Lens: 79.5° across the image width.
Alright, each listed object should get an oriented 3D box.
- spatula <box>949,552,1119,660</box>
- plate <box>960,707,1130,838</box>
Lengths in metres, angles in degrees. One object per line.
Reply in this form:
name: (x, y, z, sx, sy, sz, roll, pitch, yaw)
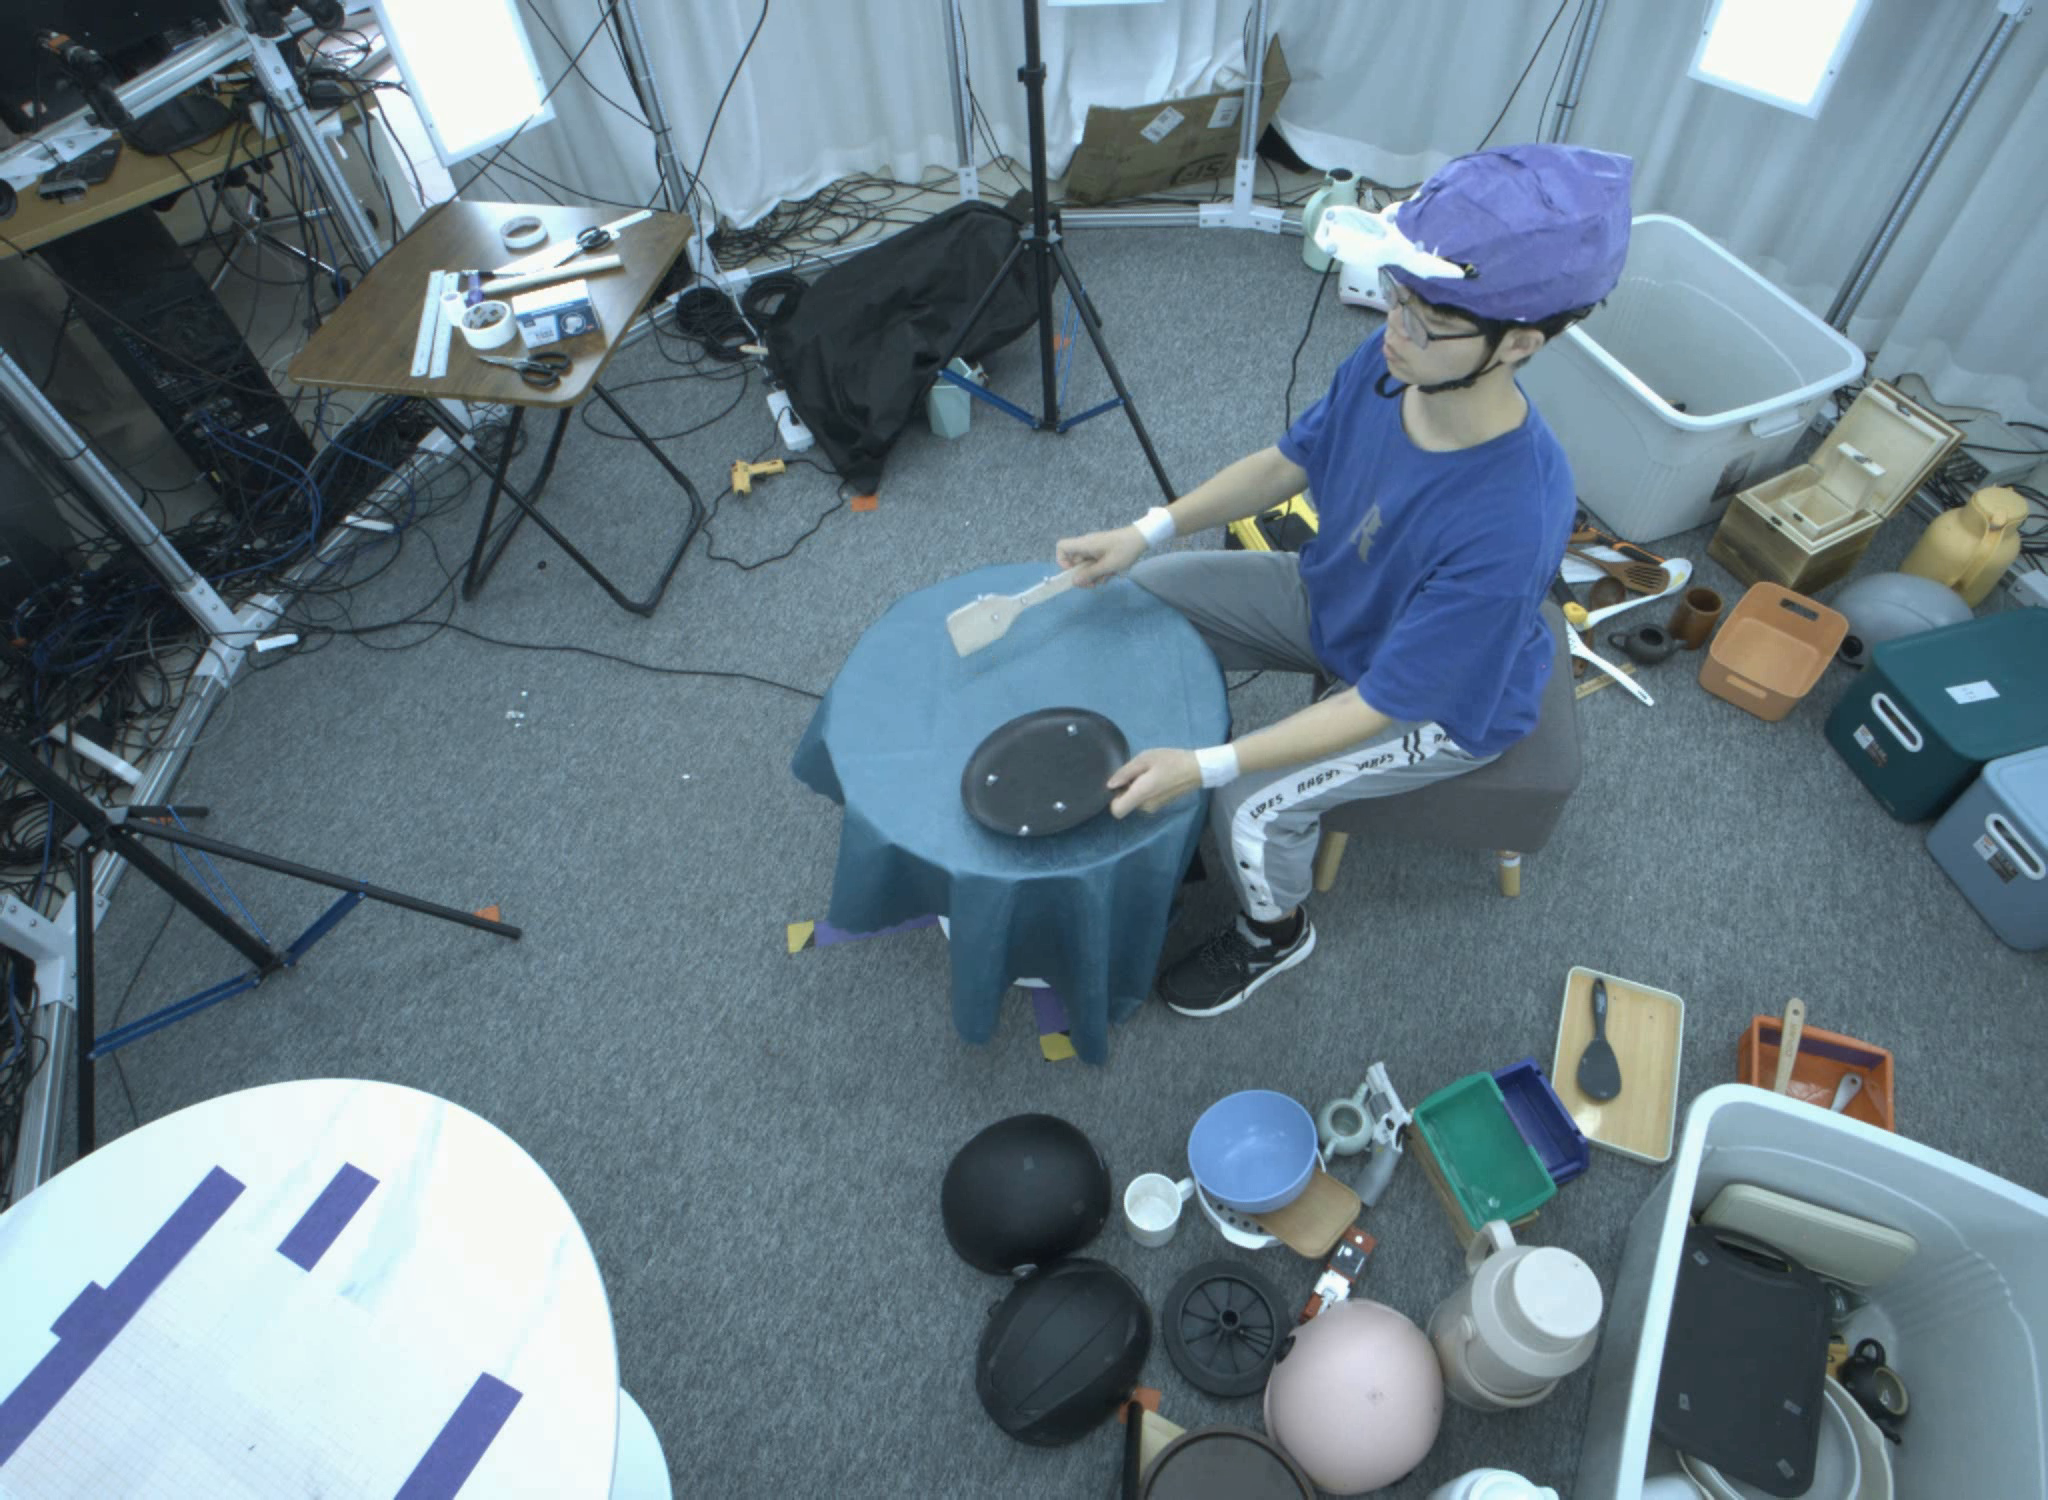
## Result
spatula: (0.020, -0.231, 1.866, 0.295, 0.073, 0.010, -29, 32, -14)
plate: (0.030, 0.033, 1.712, 0.243, 0.024, 0.242, -9, 45, 11)
